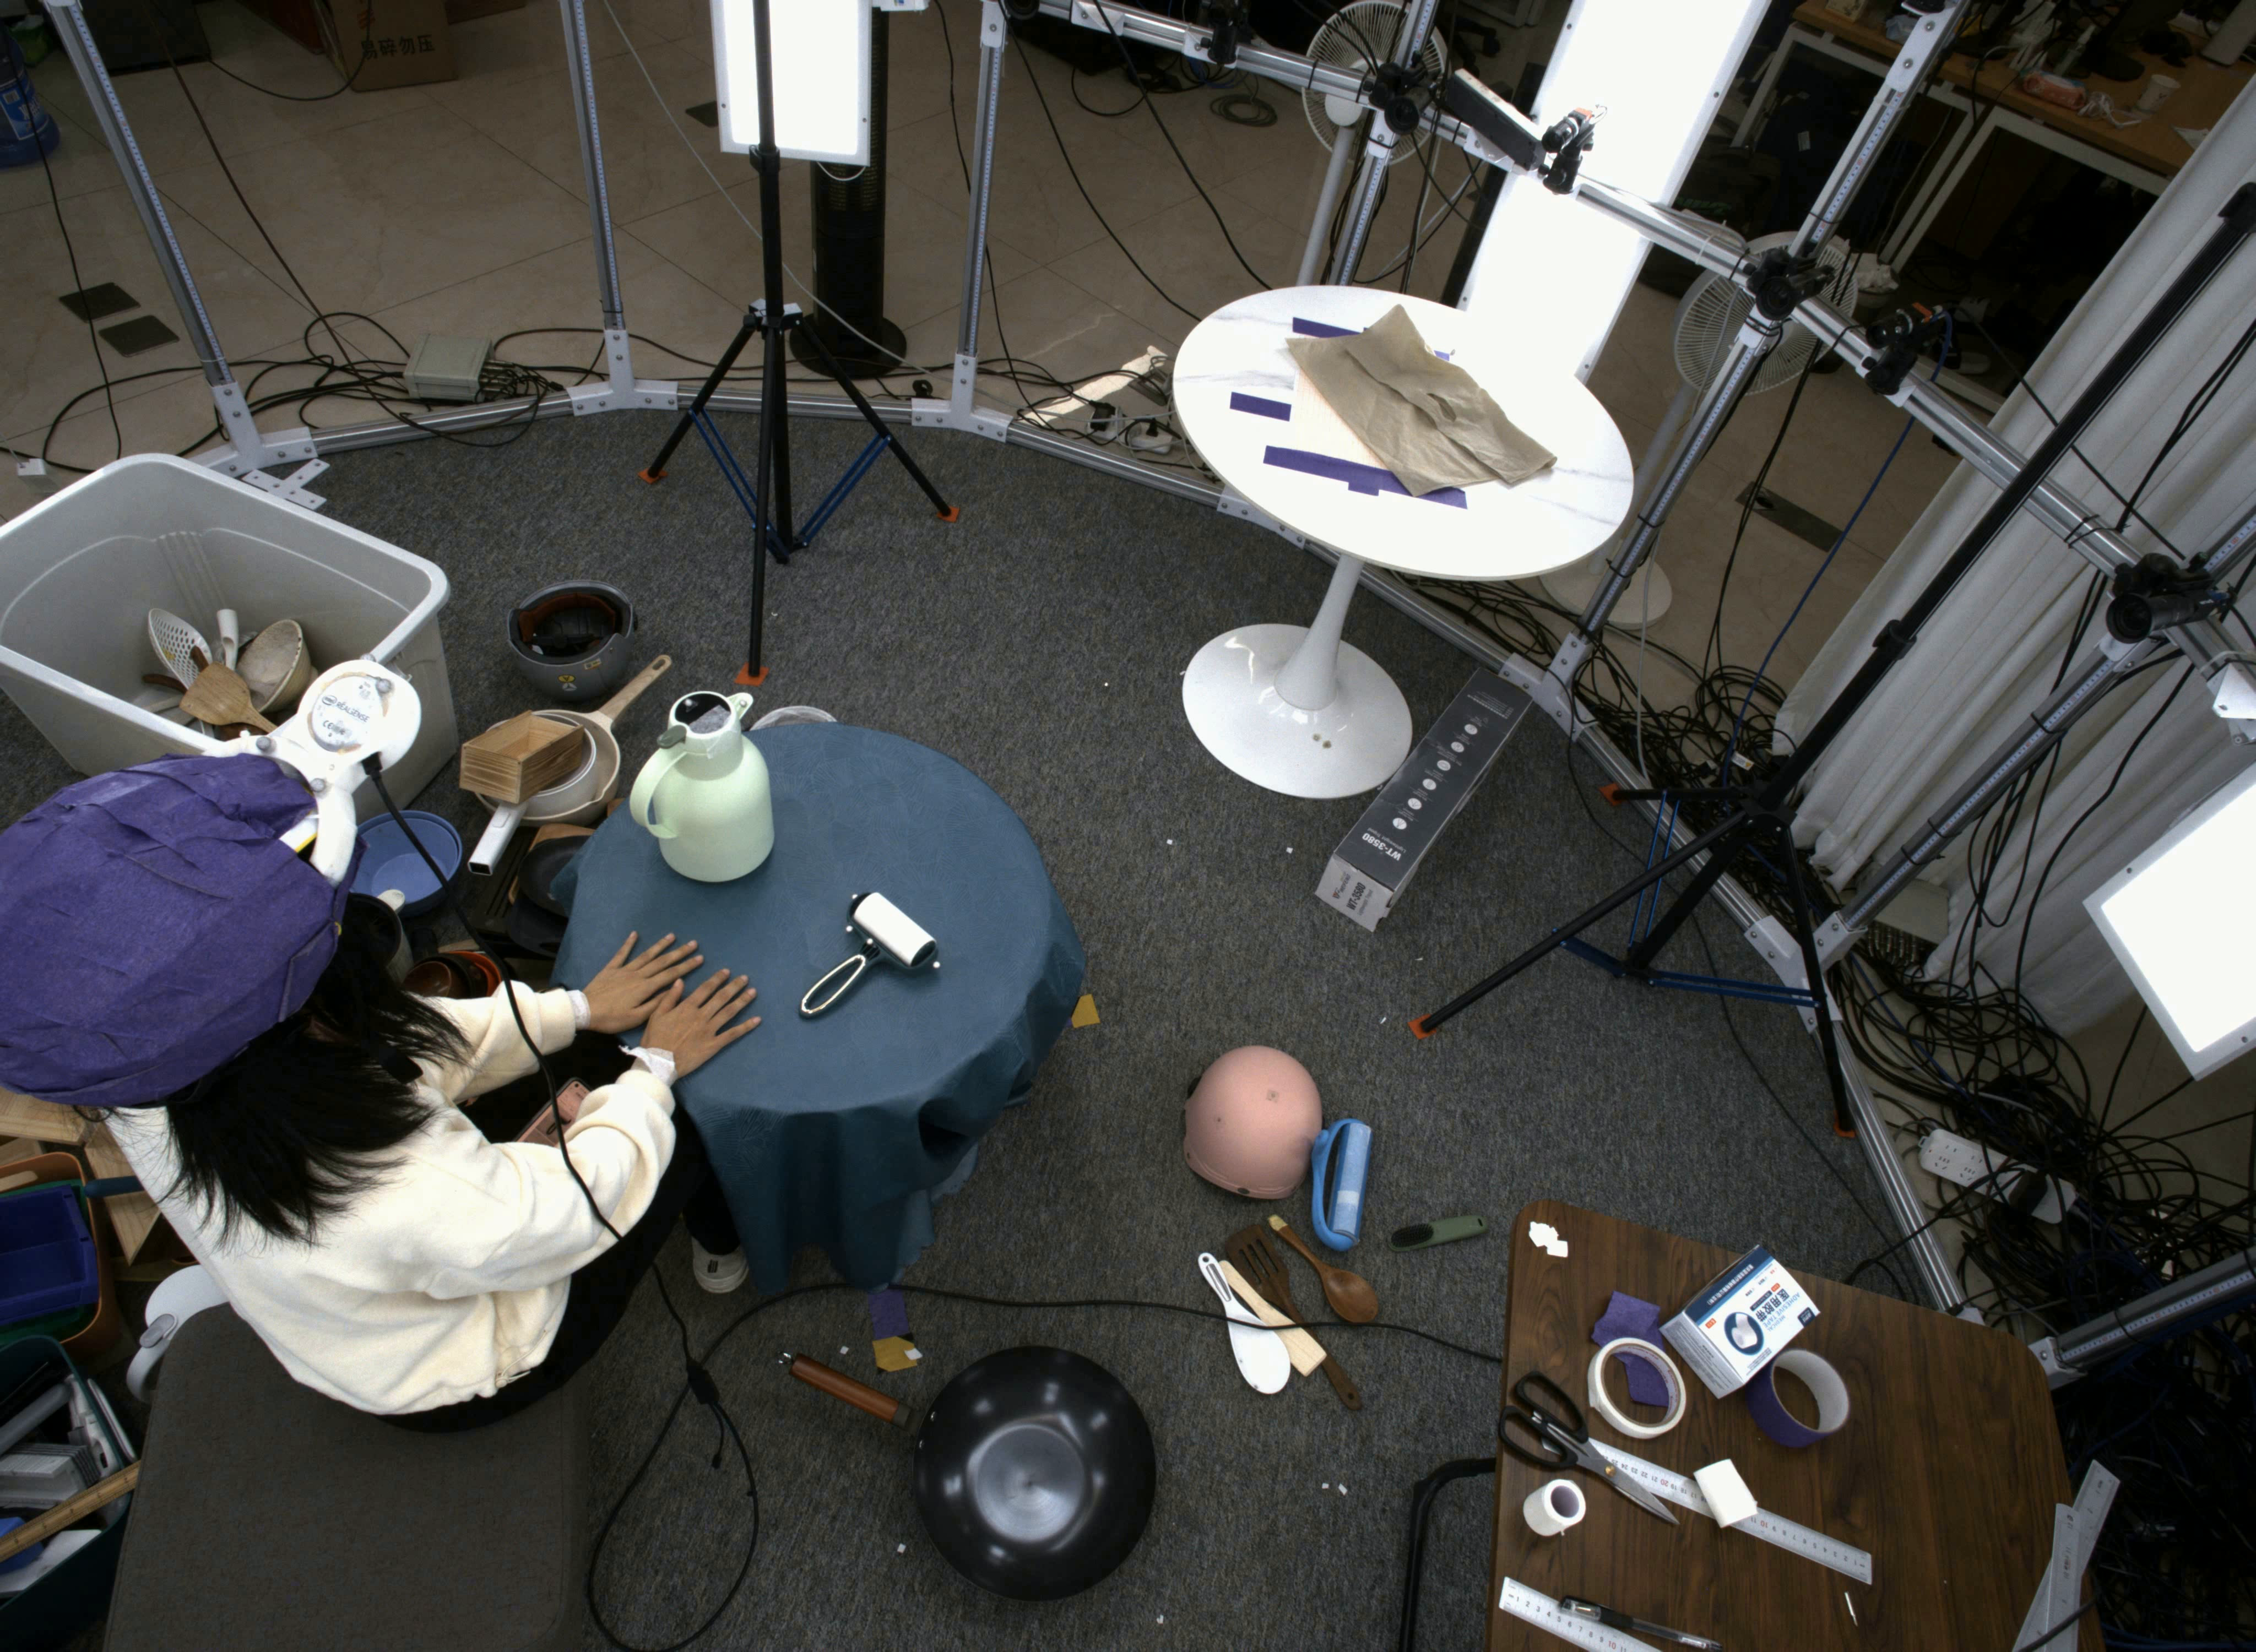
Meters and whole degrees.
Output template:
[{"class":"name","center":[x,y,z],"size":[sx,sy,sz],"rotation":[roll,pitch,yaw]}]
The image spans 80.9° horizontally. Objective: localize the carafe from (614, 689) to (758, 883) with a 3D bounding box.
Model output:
[{"class":"carafe","center":[-0.539,-0.047,1.562],"size":[0.142,0.262,0.186],"rotation":[34,57,13]}]

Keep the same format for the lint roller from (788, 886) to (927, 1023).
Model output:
[{"class":"lint roller","center":[-0.346,0.166,1.584],"size":[0.131,0.049,0.180],"rotation":[37,54,15]}]
